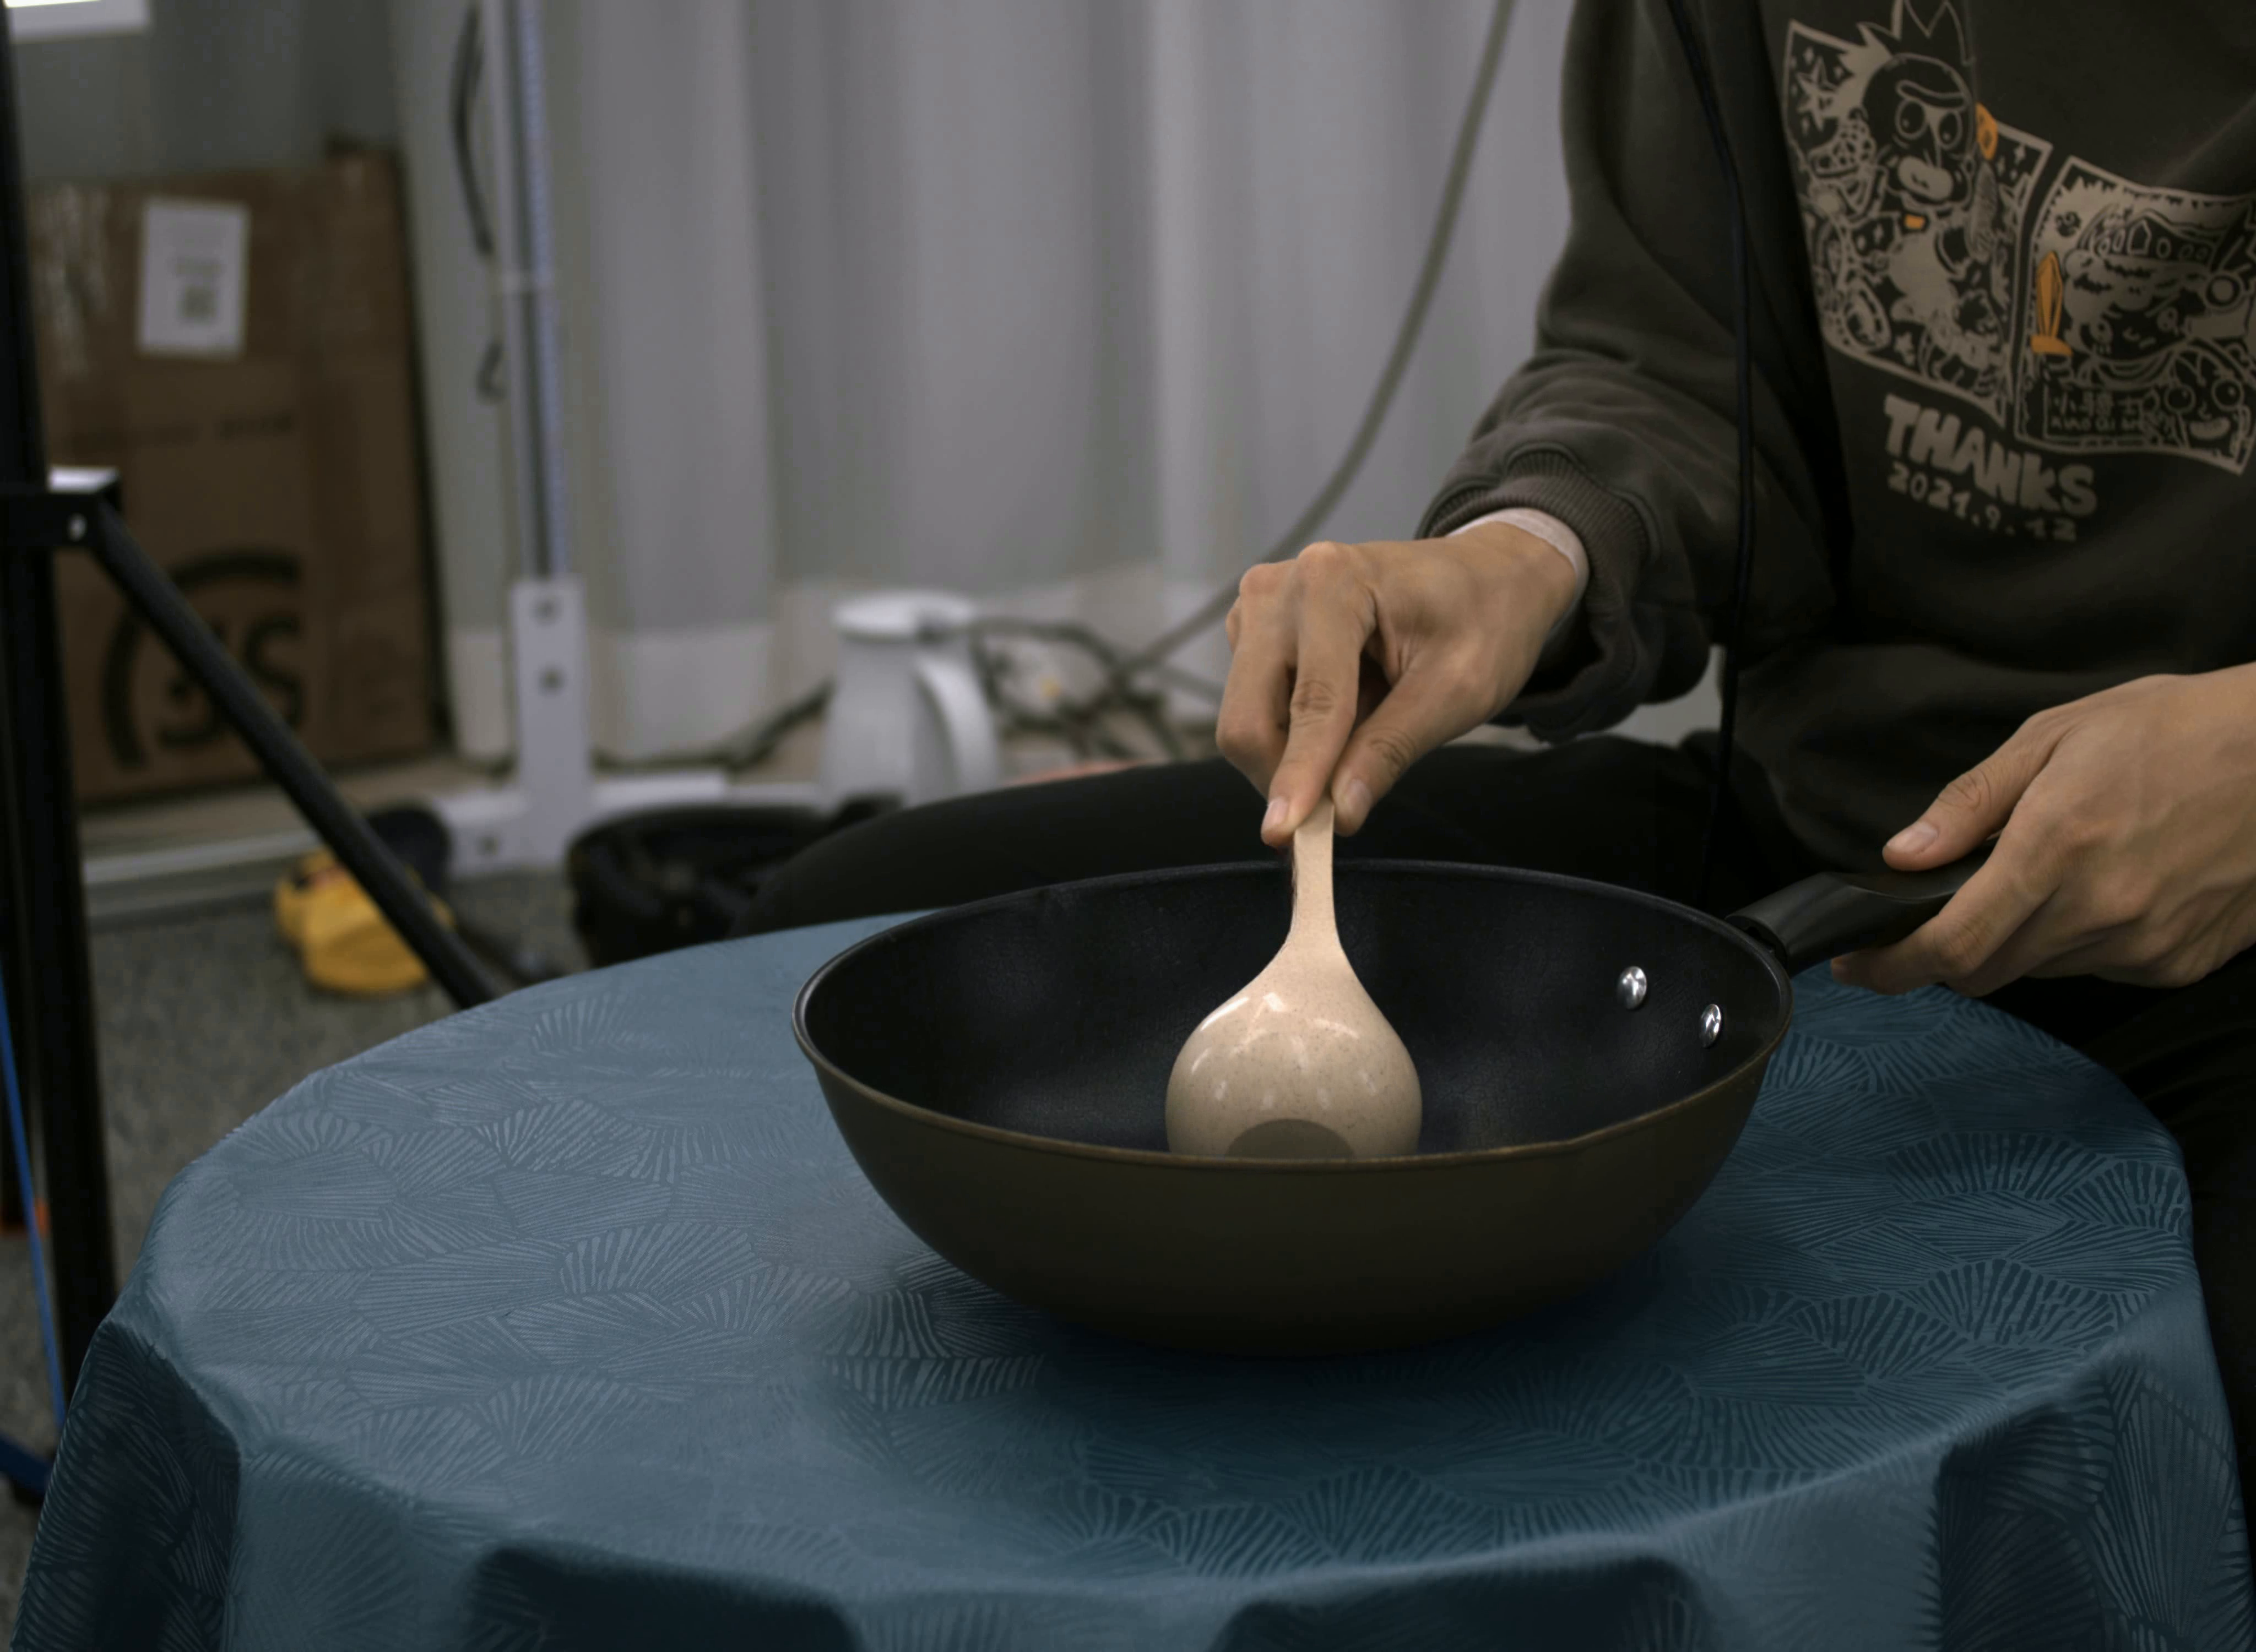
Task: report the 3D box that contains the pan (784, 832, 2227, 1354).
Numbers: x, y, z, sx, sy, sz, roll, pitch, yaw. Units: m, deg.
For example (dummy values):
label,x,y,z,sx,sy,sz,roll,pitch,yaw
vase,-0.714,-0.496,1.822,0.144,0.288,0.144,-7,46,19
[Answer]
label,x,y,z,sx,sy,sz,roll,pitch,yaw
pan,0.124,0.070,1.524,0.453,0.087,0.294,-9,17,-25

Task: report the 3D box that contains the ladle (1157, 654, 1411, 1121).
label,x,y,z,sx,sy,sz,roll,pitch,yaw
ladle,0.052,0.035,1.583,0.072,0.073,0.255,6,27,2
